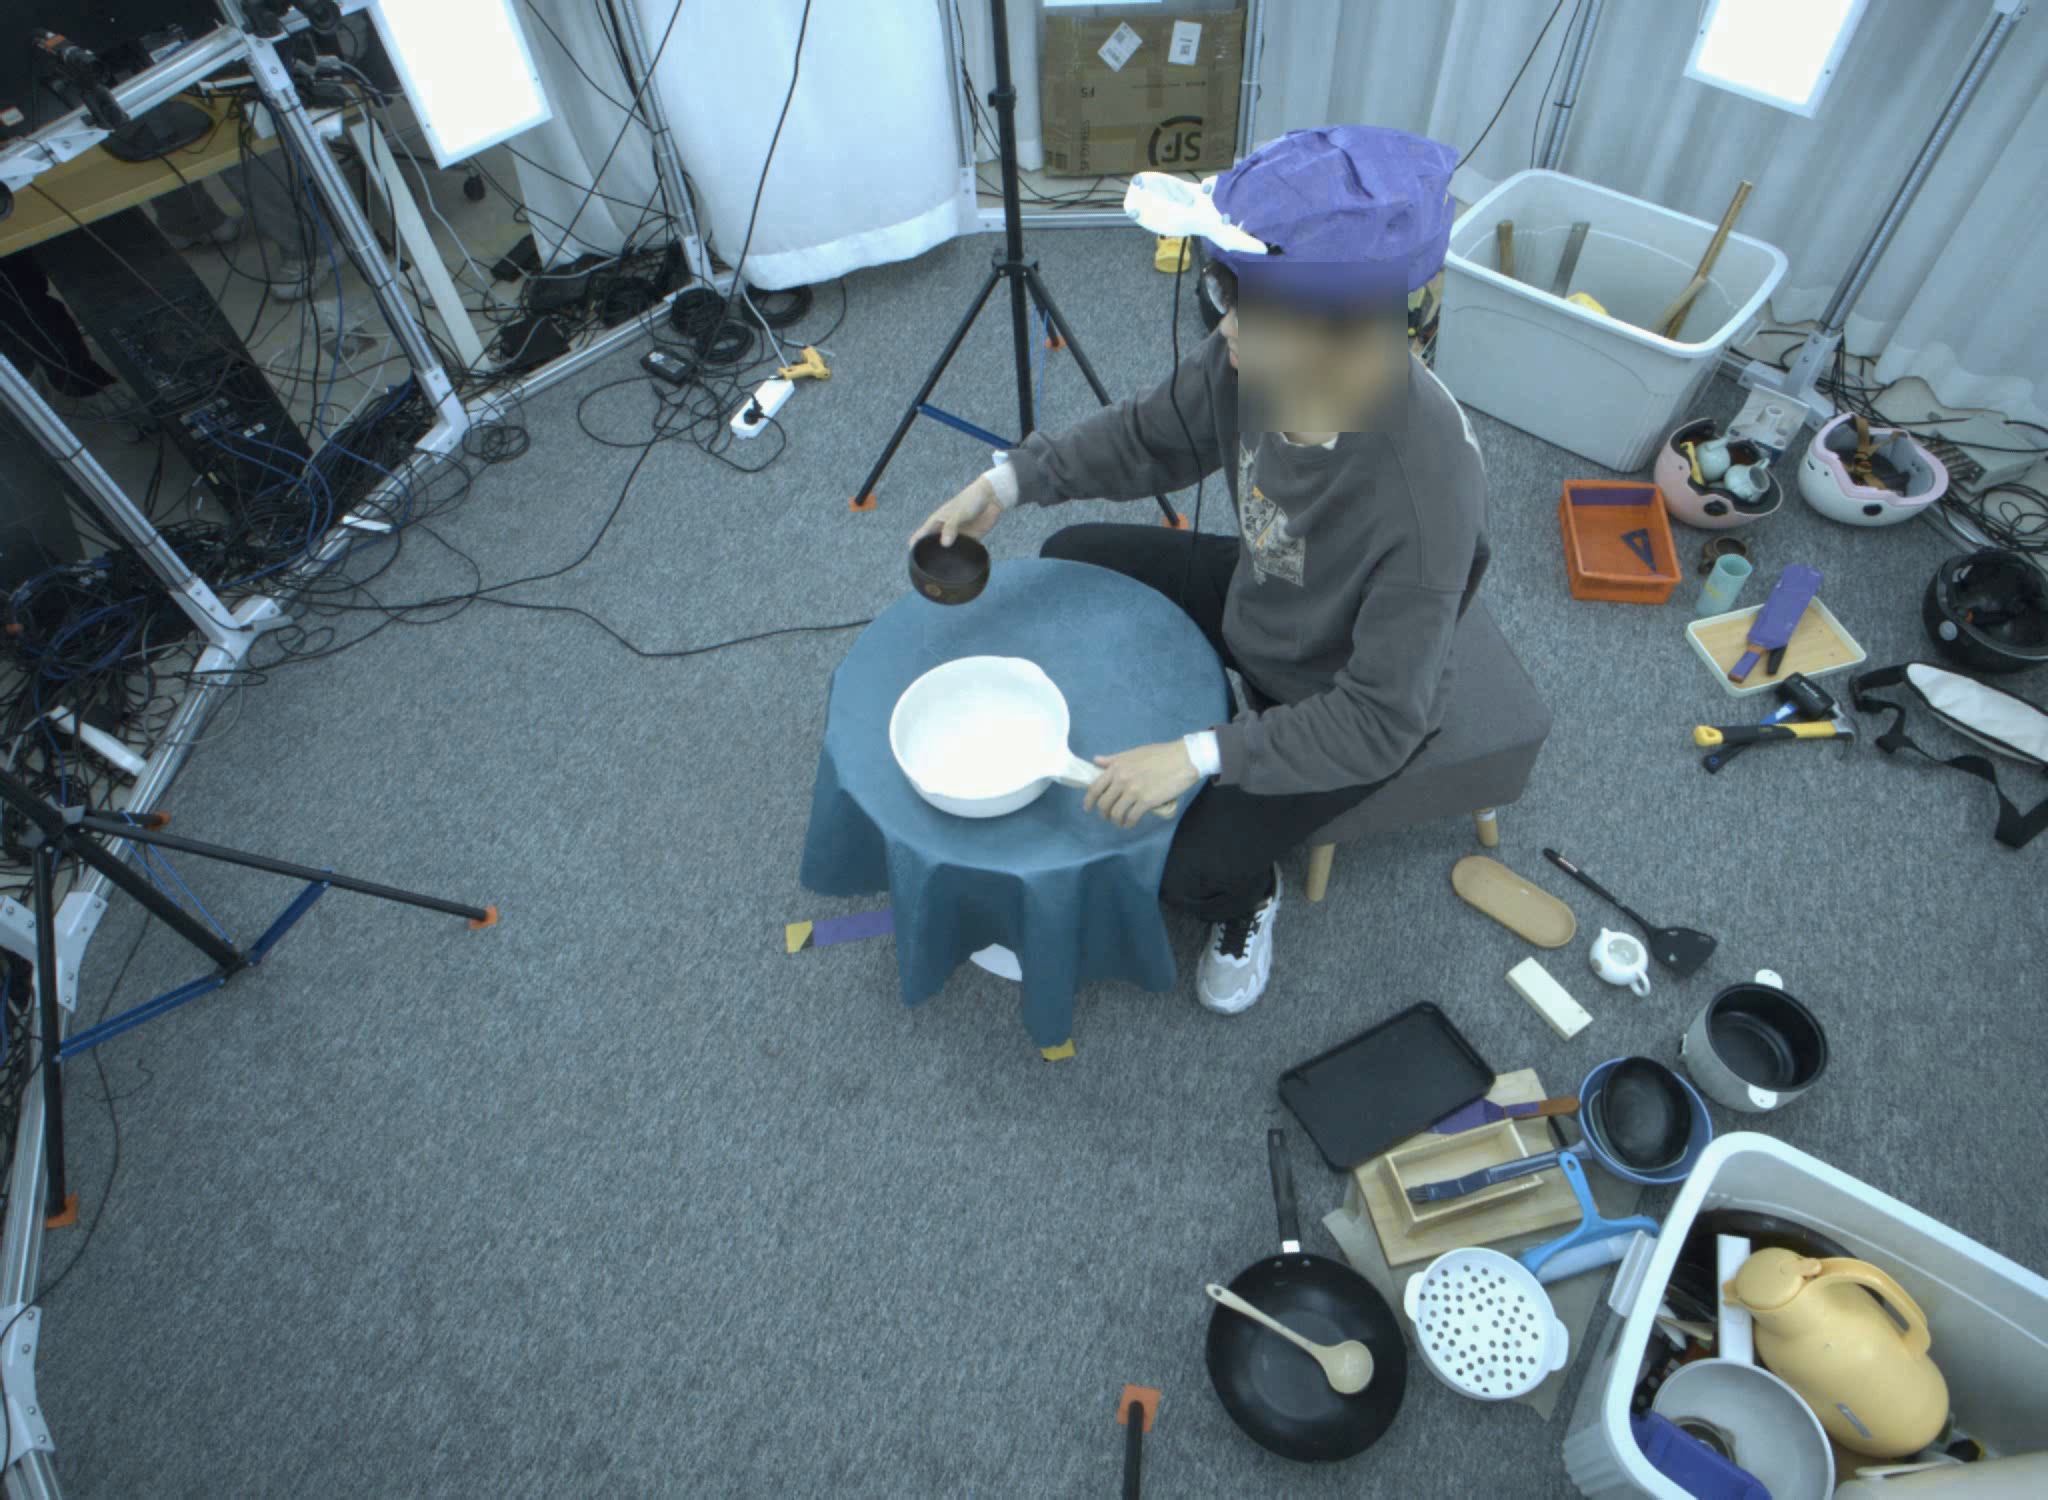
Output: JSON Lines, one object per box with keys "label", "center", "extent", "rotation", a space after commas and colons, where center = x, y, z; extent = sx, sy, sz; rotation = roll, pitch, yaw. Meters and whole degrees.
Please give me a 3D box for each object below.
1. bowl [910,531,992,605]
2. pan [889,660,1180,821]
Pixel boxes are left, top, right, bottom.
{"label": "bowl", "center": [-0.108, -0.256, 1.776], "extent": [0.119, 0.070, 0.117], "rotation": [7, 47, -7]}
{"label": "pan", "center": [0.016, 0.024, 1.706], "extent": [0.429, 0.103, 0.264], "rotation": [25, 57, 19]}
